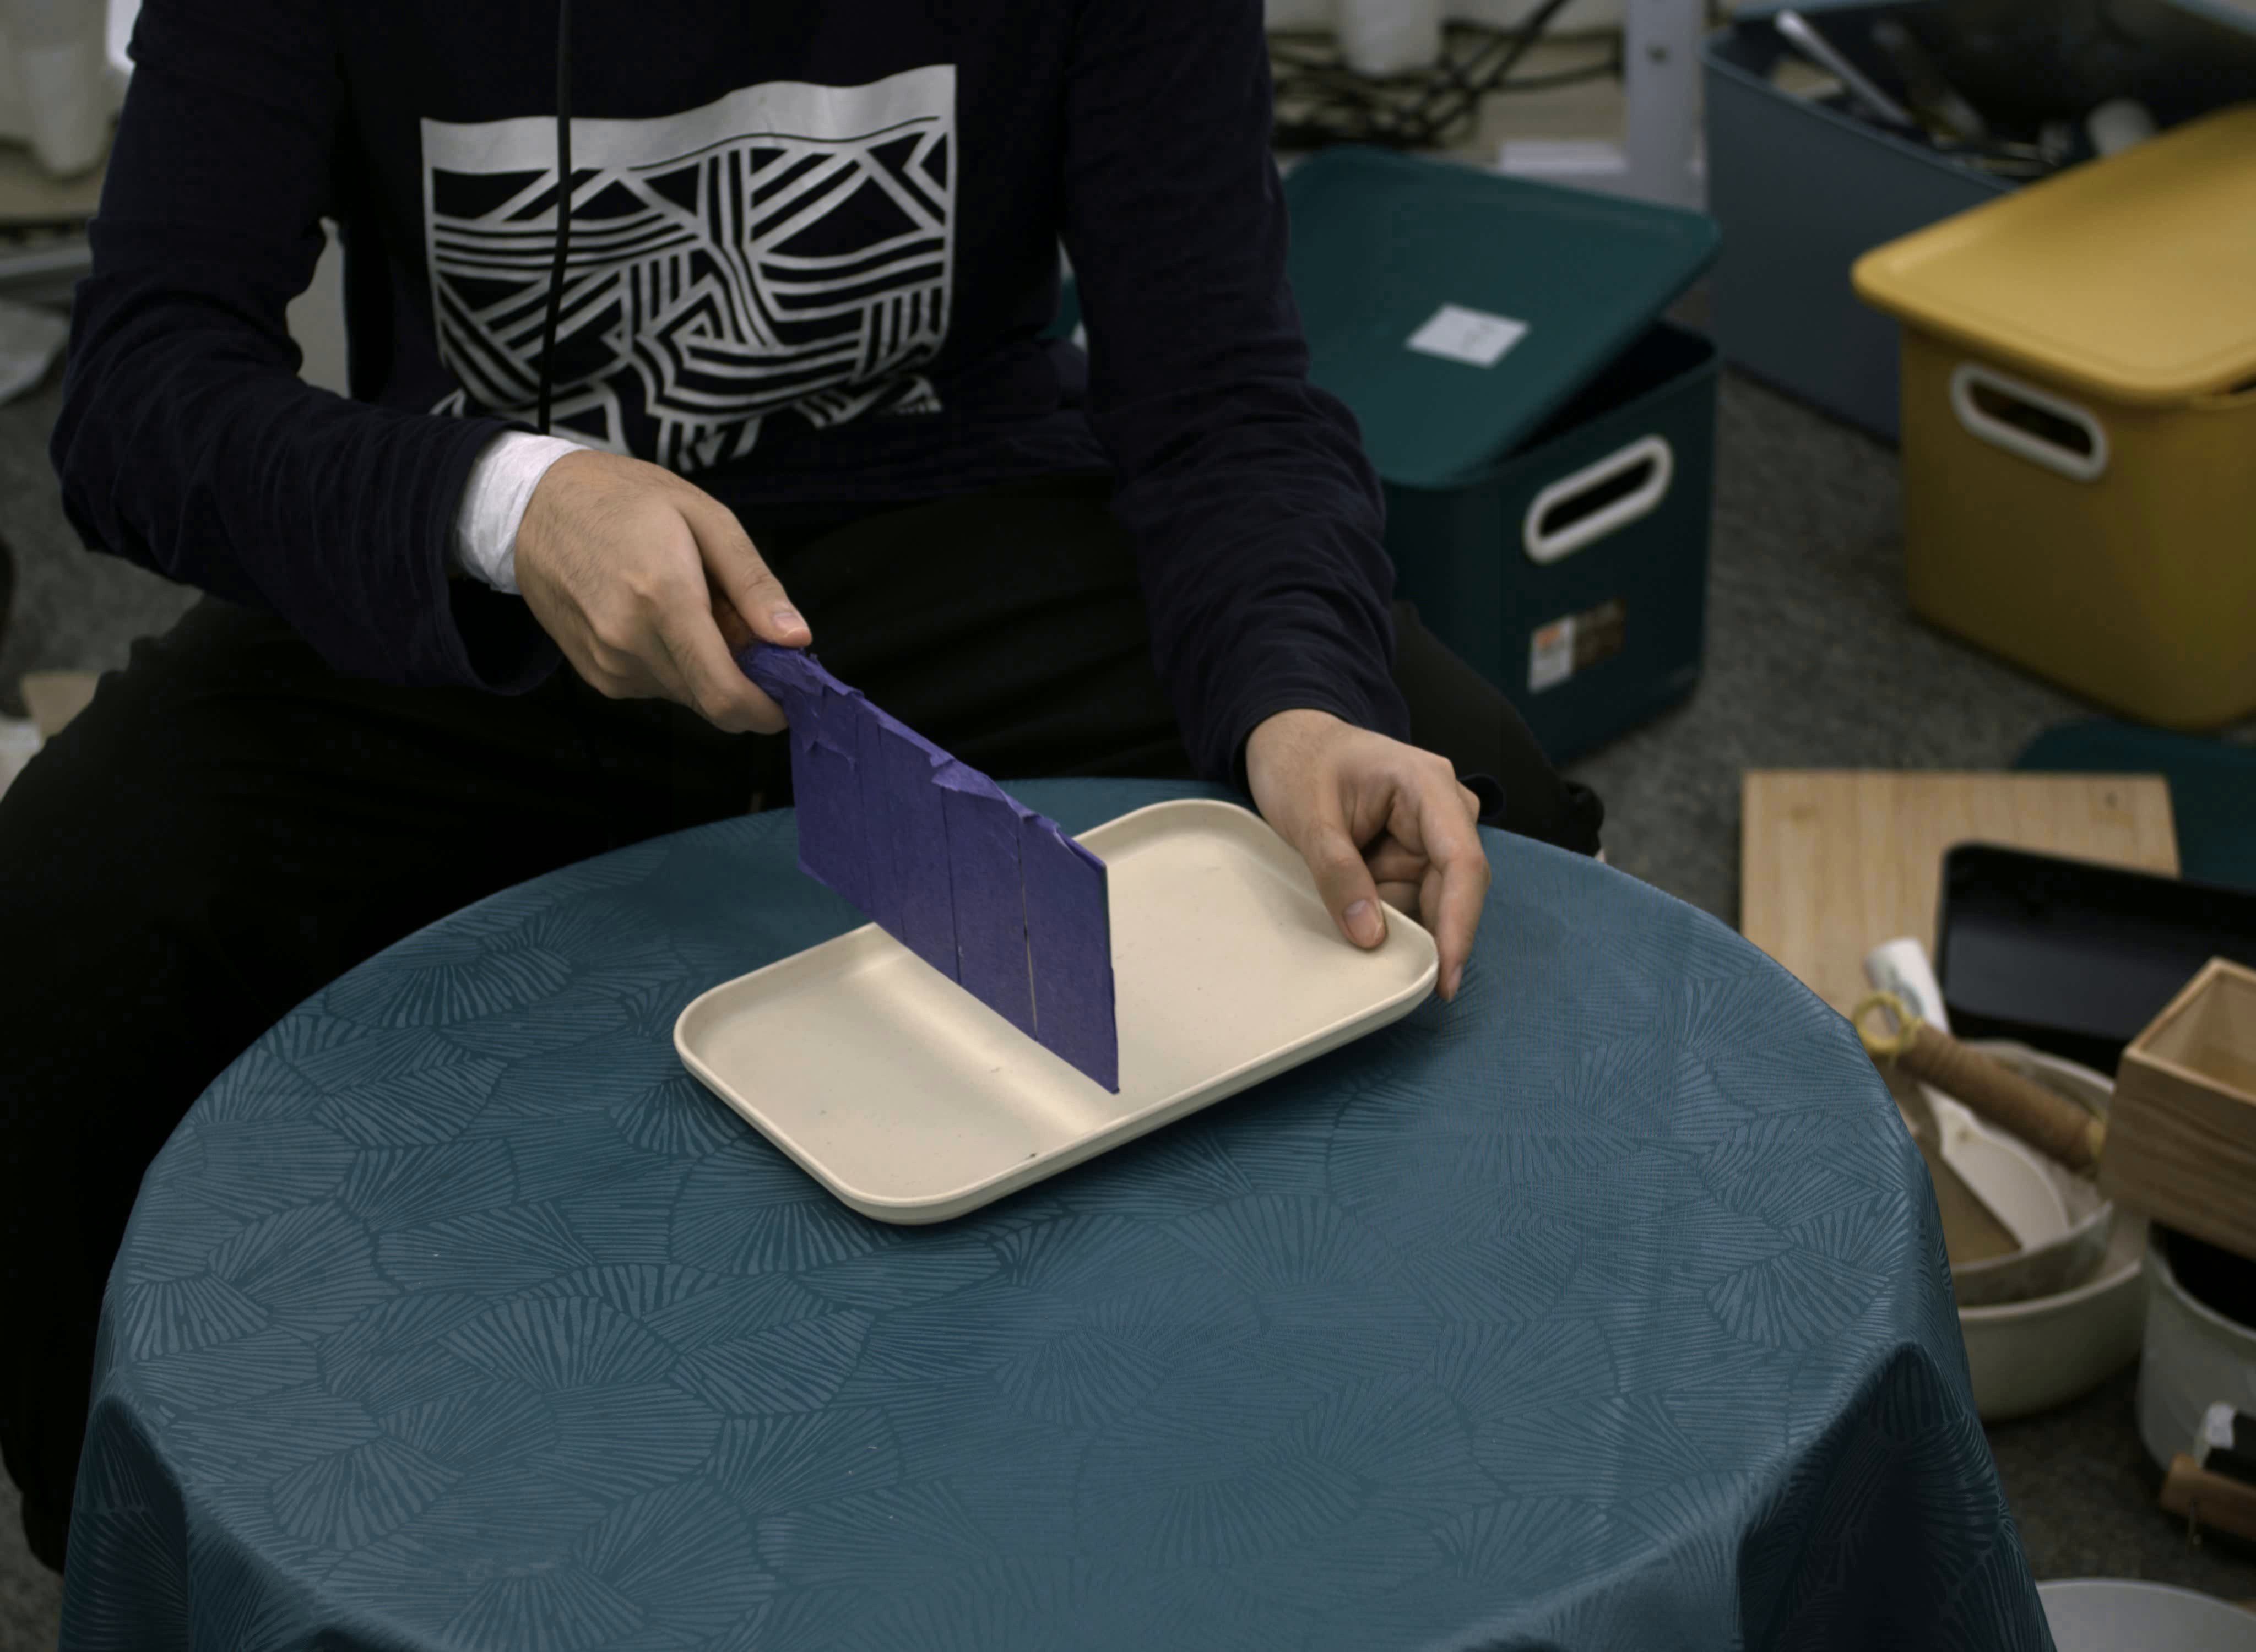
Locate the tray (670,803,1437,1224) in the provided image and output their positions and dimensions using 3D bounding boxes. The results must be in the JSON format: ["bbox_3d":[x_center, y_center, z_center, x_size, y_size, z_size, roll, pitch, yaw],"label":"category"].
[{"bbox_3d":[-0.025,0.064,1.942,0.241,0.017,0.172,-22,33,-26],"label":"tray"}]

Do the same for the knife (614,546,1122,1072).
[{"bbox_3d":[-0.093,-0.005,1.949,0.032,0.103,0.316,-16,30,-27],"label":"knife"}]
